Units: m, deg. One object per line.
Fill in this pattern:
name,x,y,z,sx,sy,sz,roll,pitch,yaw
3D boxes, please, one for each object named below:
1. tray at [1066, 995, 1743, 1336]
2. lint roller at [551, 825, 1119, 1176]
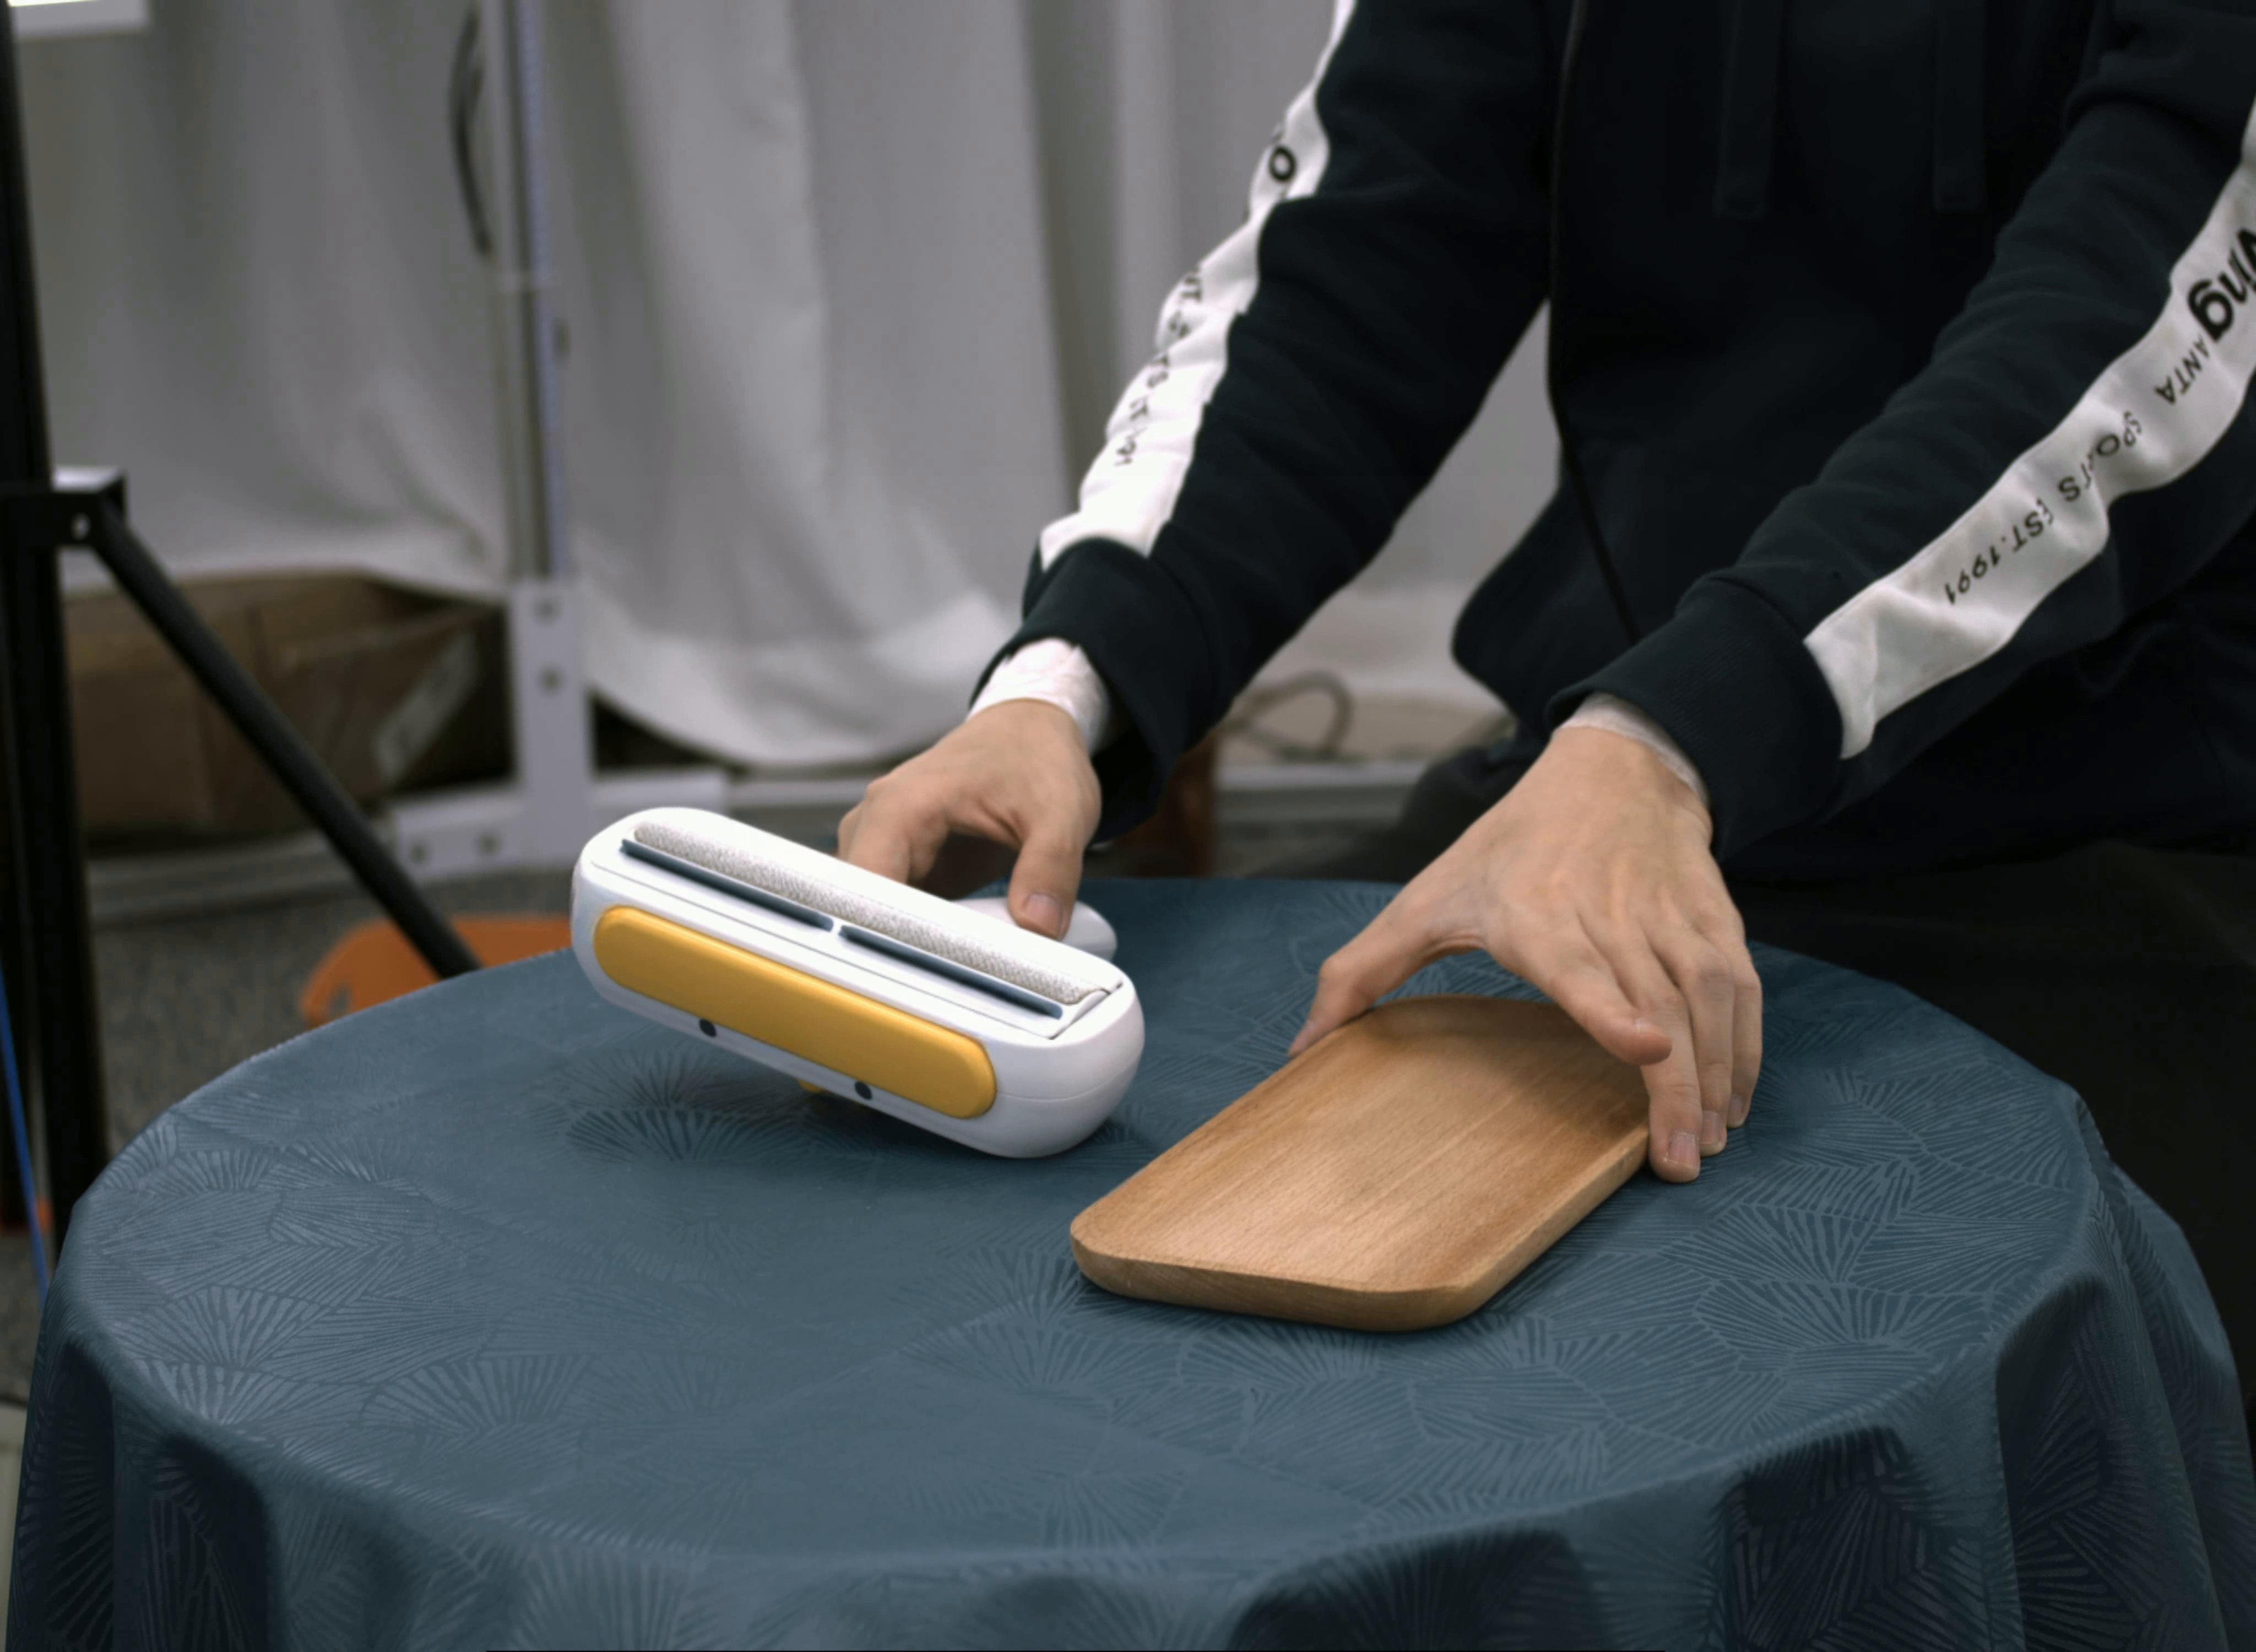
tray,0.085,0.097,1.554,0.133,0.023,0.246,8,18,27
lint roller,-0.063,0.058,1.686,0.197,0.074,0.188,19,10,33
